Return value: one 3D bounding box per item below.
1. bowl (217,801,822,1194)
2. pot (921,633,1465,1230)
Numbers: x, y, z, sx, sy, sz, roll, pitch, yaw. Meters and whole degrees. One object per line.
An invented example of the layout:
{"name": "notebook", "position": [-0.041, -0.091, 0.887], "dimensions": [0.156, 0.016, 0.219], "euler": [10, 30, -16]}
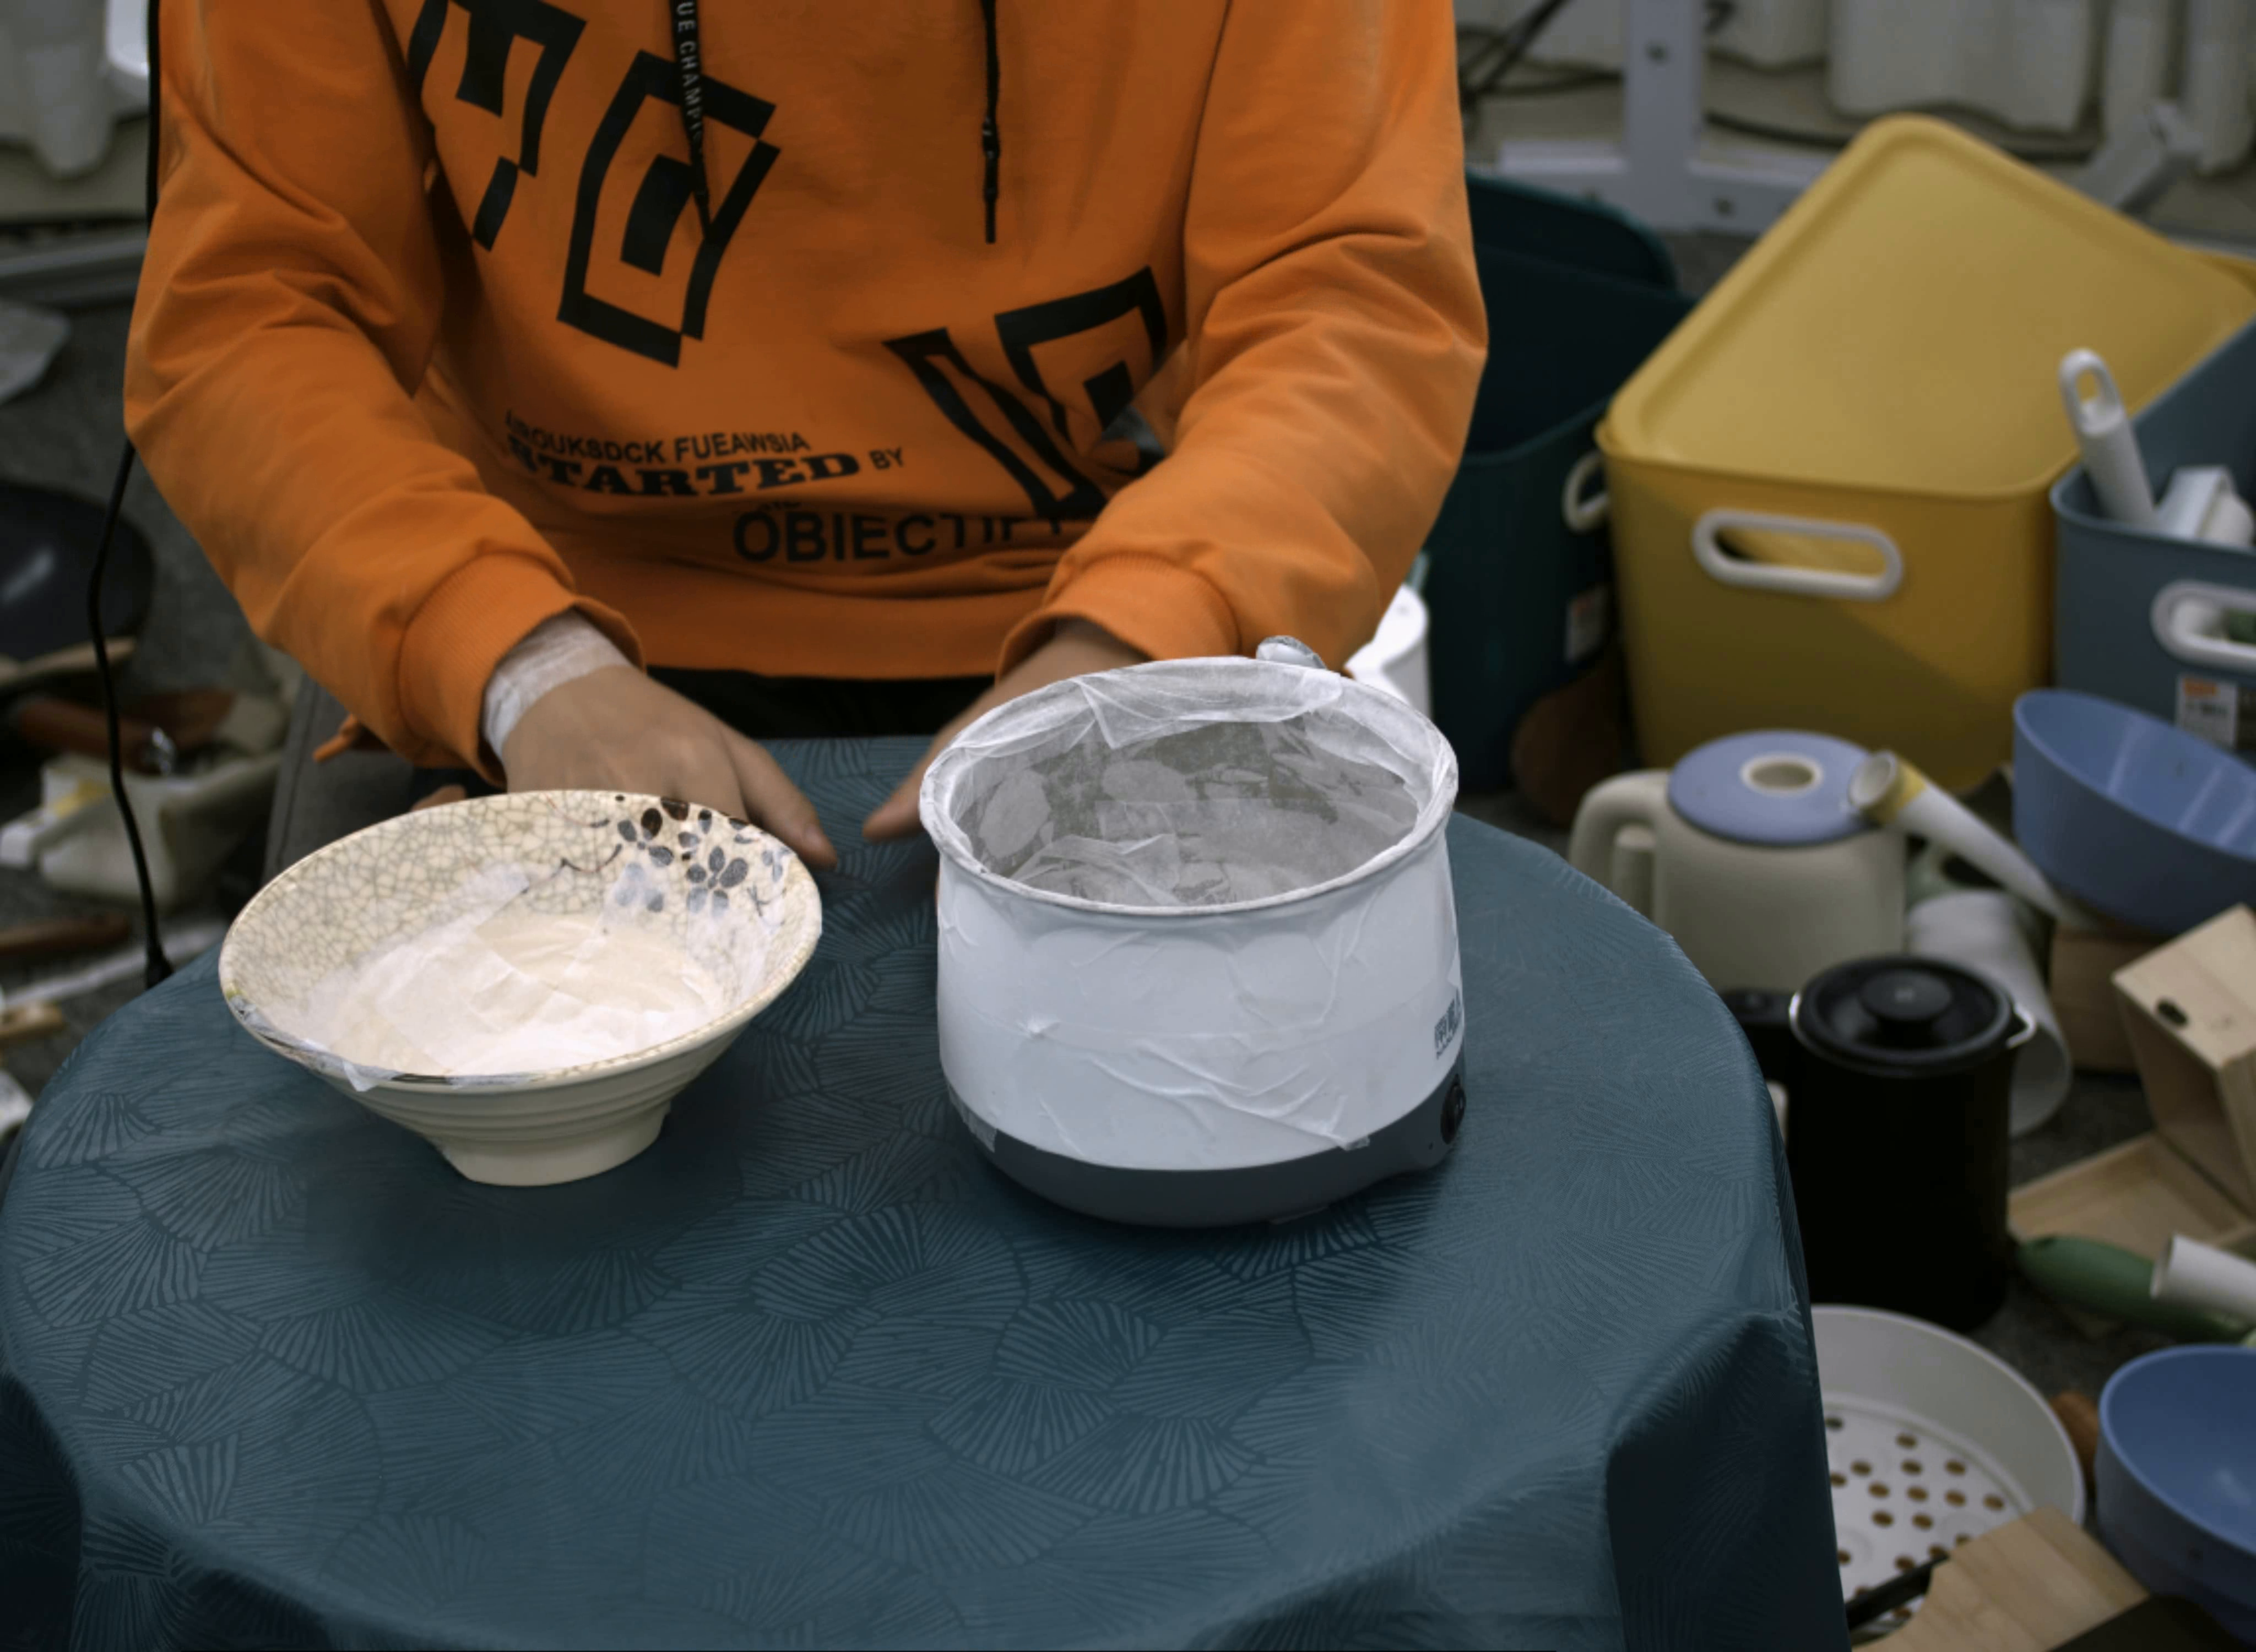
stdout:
{"name": "bowl", "position": [-0.202, 0.070, 1.901], "dimensions": [0.203, 0.077, 0.207], "euler": [-2, 25, 2]}
{"name": "pot", "position": [0.031, 0.028, 1.892], "dimensions": [0.177, 0.135, 0.238], "euler": [6, 29, 16]}
